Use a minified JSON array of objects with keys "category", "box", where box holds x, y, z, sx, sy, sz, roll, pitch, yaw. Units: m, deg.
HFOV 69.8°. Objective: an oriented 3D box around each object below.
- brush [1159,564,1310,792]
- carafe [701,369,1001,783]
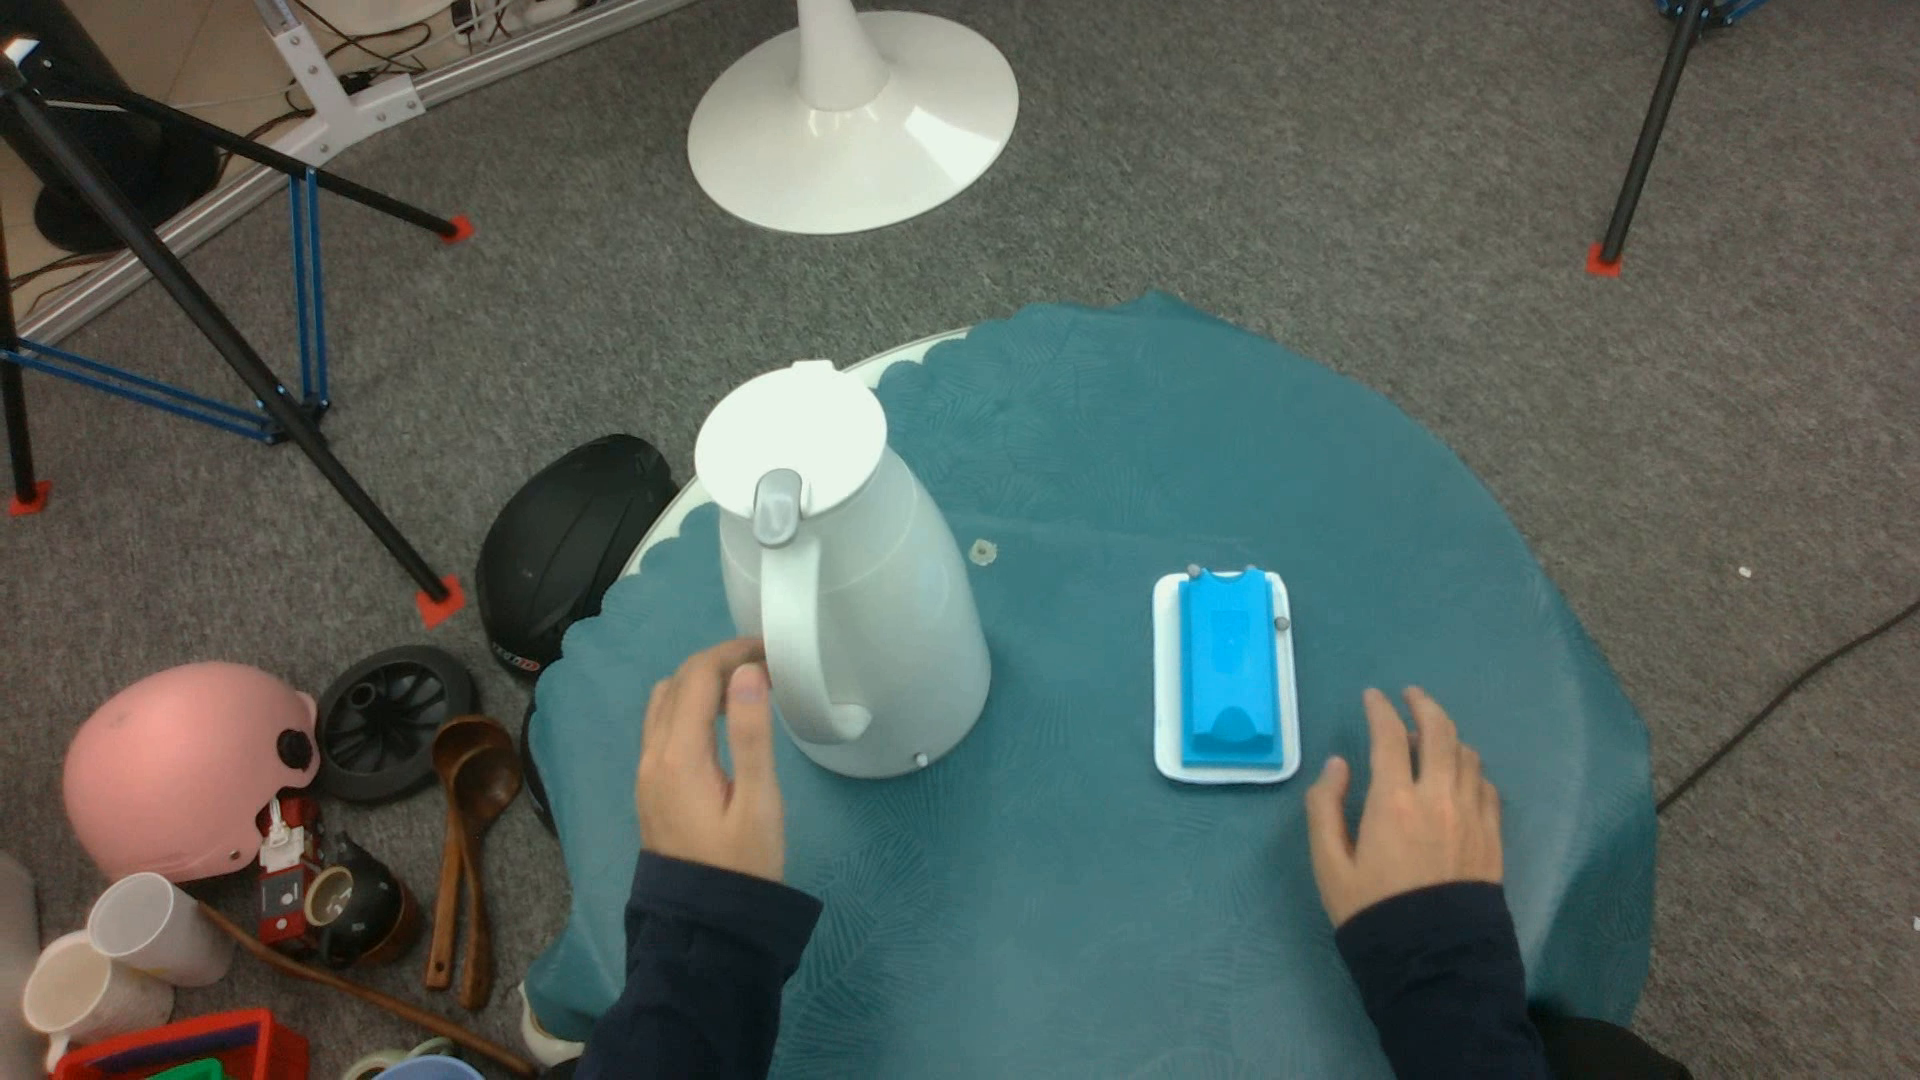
[{"category":"brush","box":[0.156,0.071,0.789,0.084,0.056,0.144,-2,53,13]},{"category":"carafe","box":[-0.059,0.037,0.736,0.132,0.247,0.168,-5,56,7]}]
